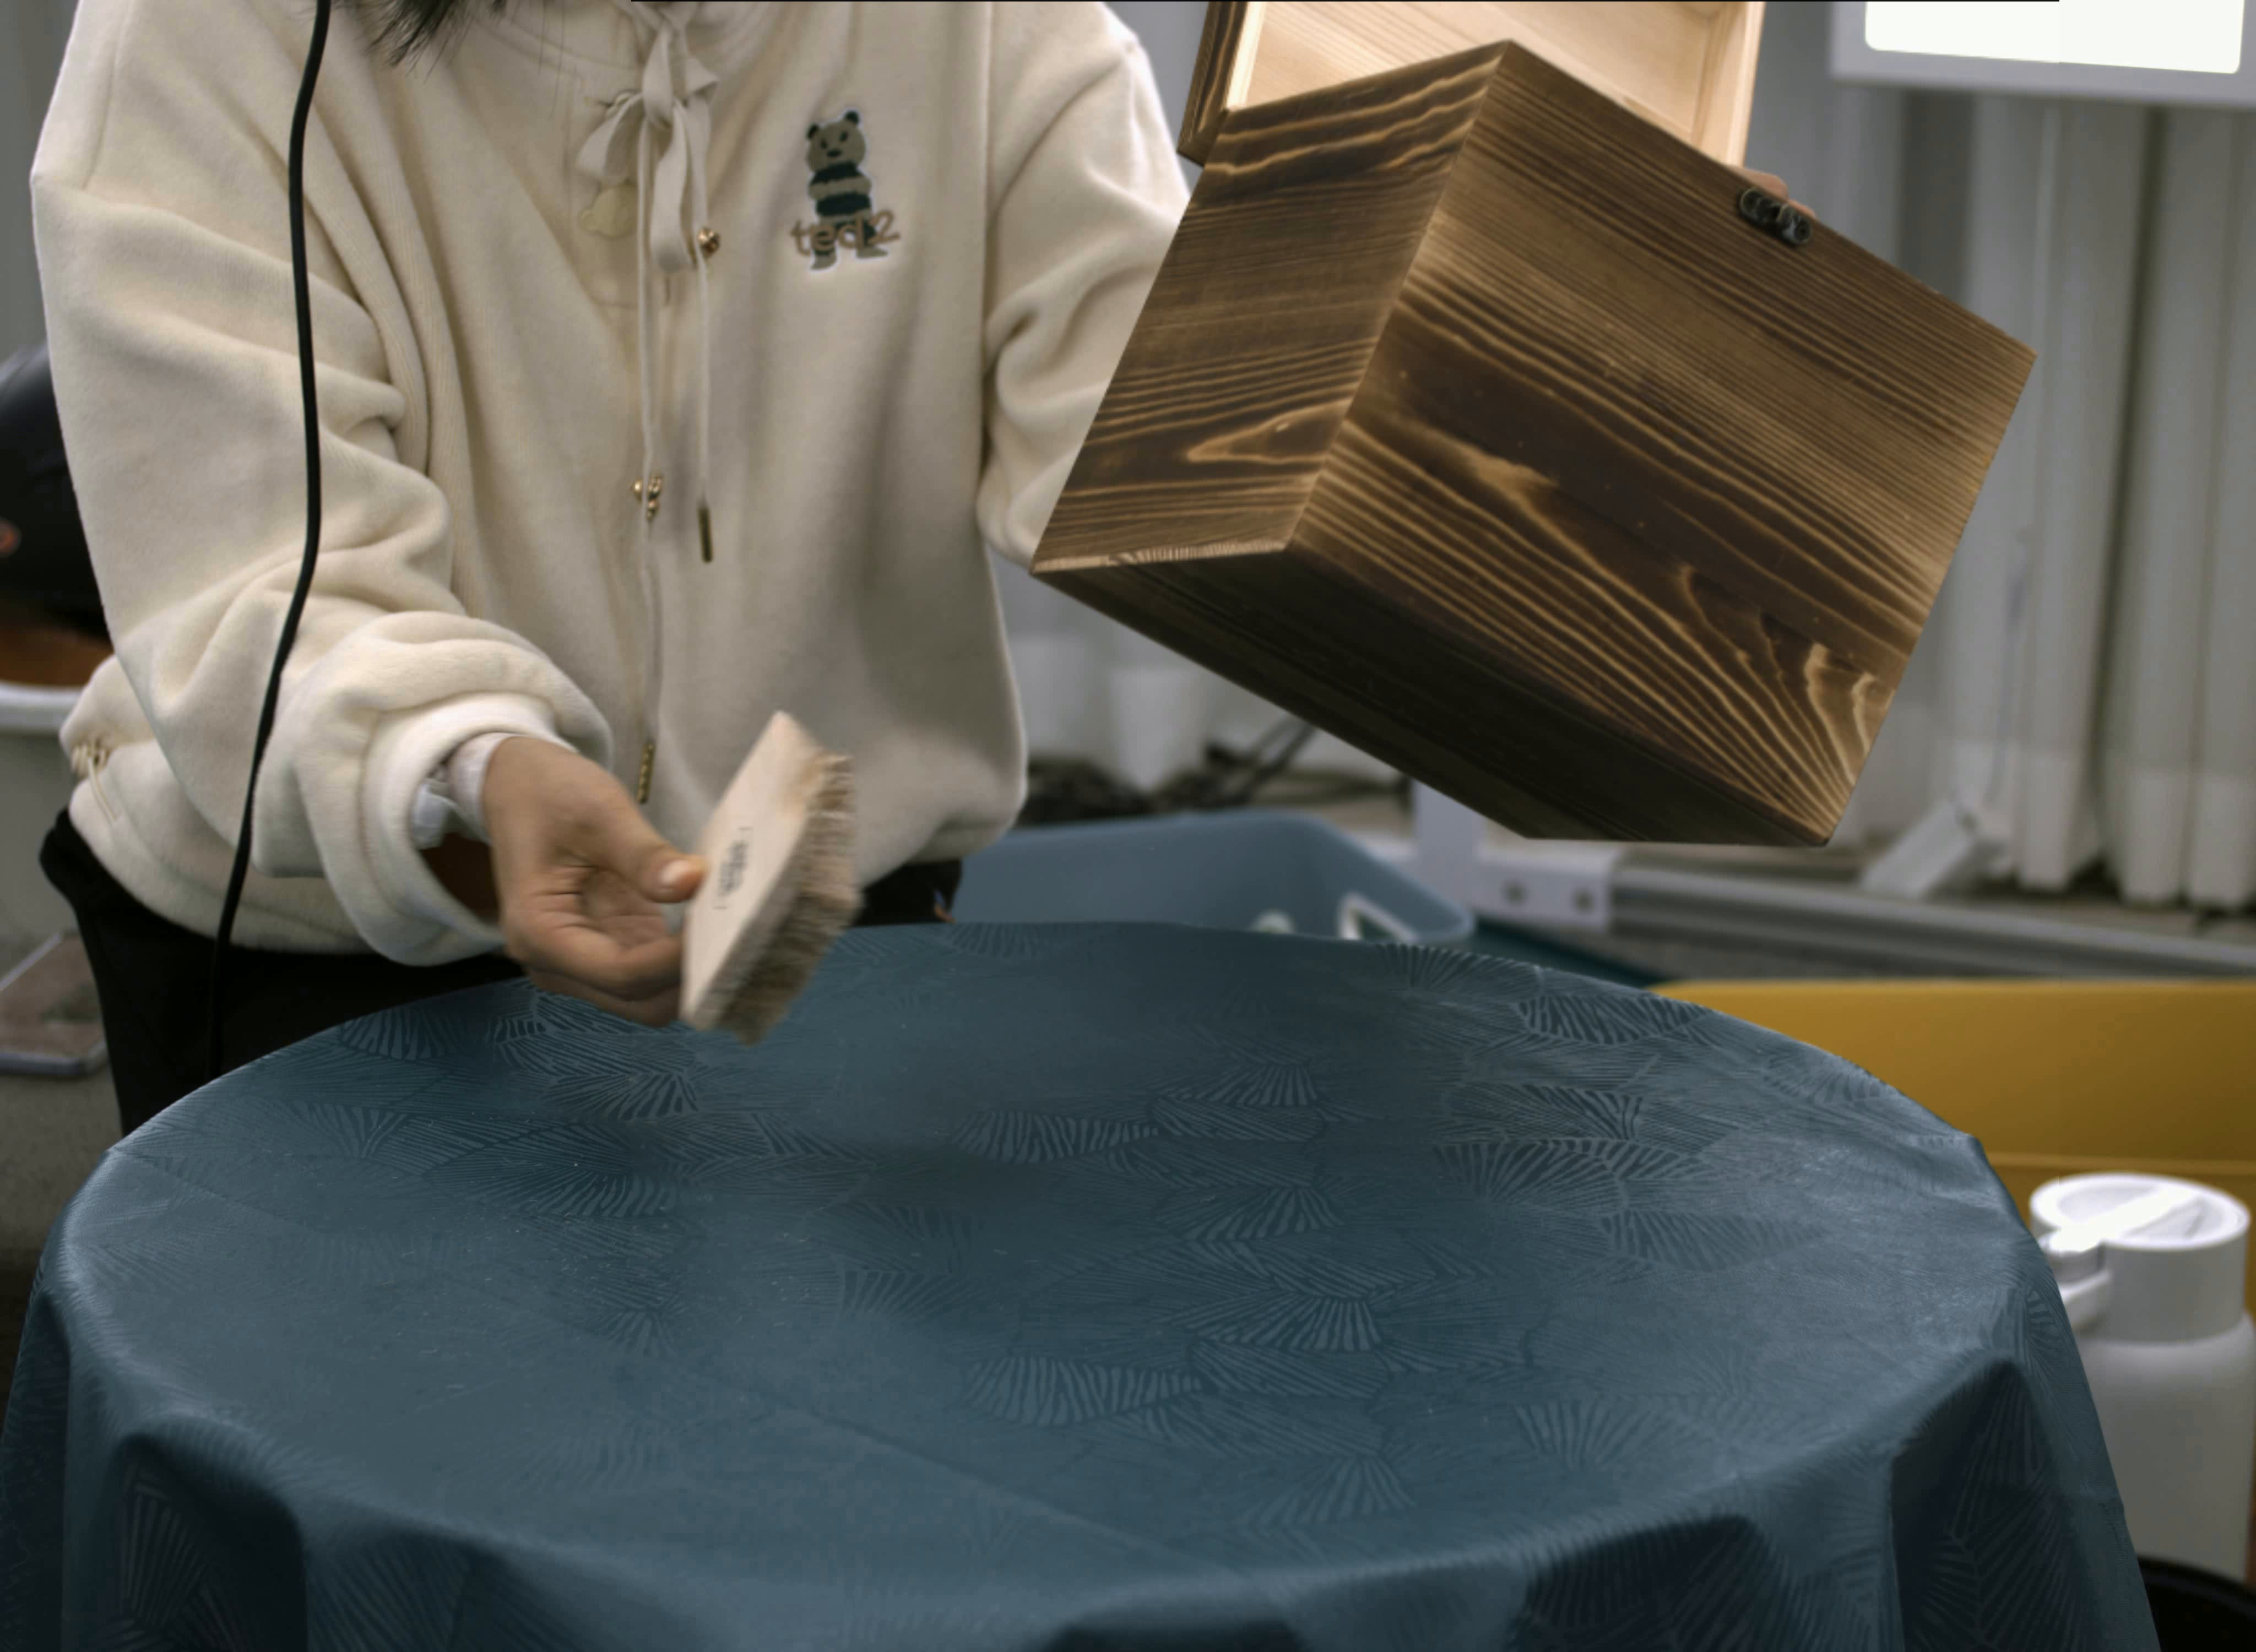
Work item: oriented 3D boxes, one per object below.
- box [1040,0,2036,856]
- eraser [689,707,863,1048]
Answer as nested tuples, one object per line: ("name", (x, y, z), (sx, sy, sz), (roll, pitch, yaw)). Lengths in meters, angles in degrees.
("box", (0.139, -0.203, 1.705), (0.210, 0.375, 0.319), (26, -8, -22))
("eraser", (-0.106, 0.016, 1.597), (0.029, 0.057, 0.138), (30, 18, -13))
